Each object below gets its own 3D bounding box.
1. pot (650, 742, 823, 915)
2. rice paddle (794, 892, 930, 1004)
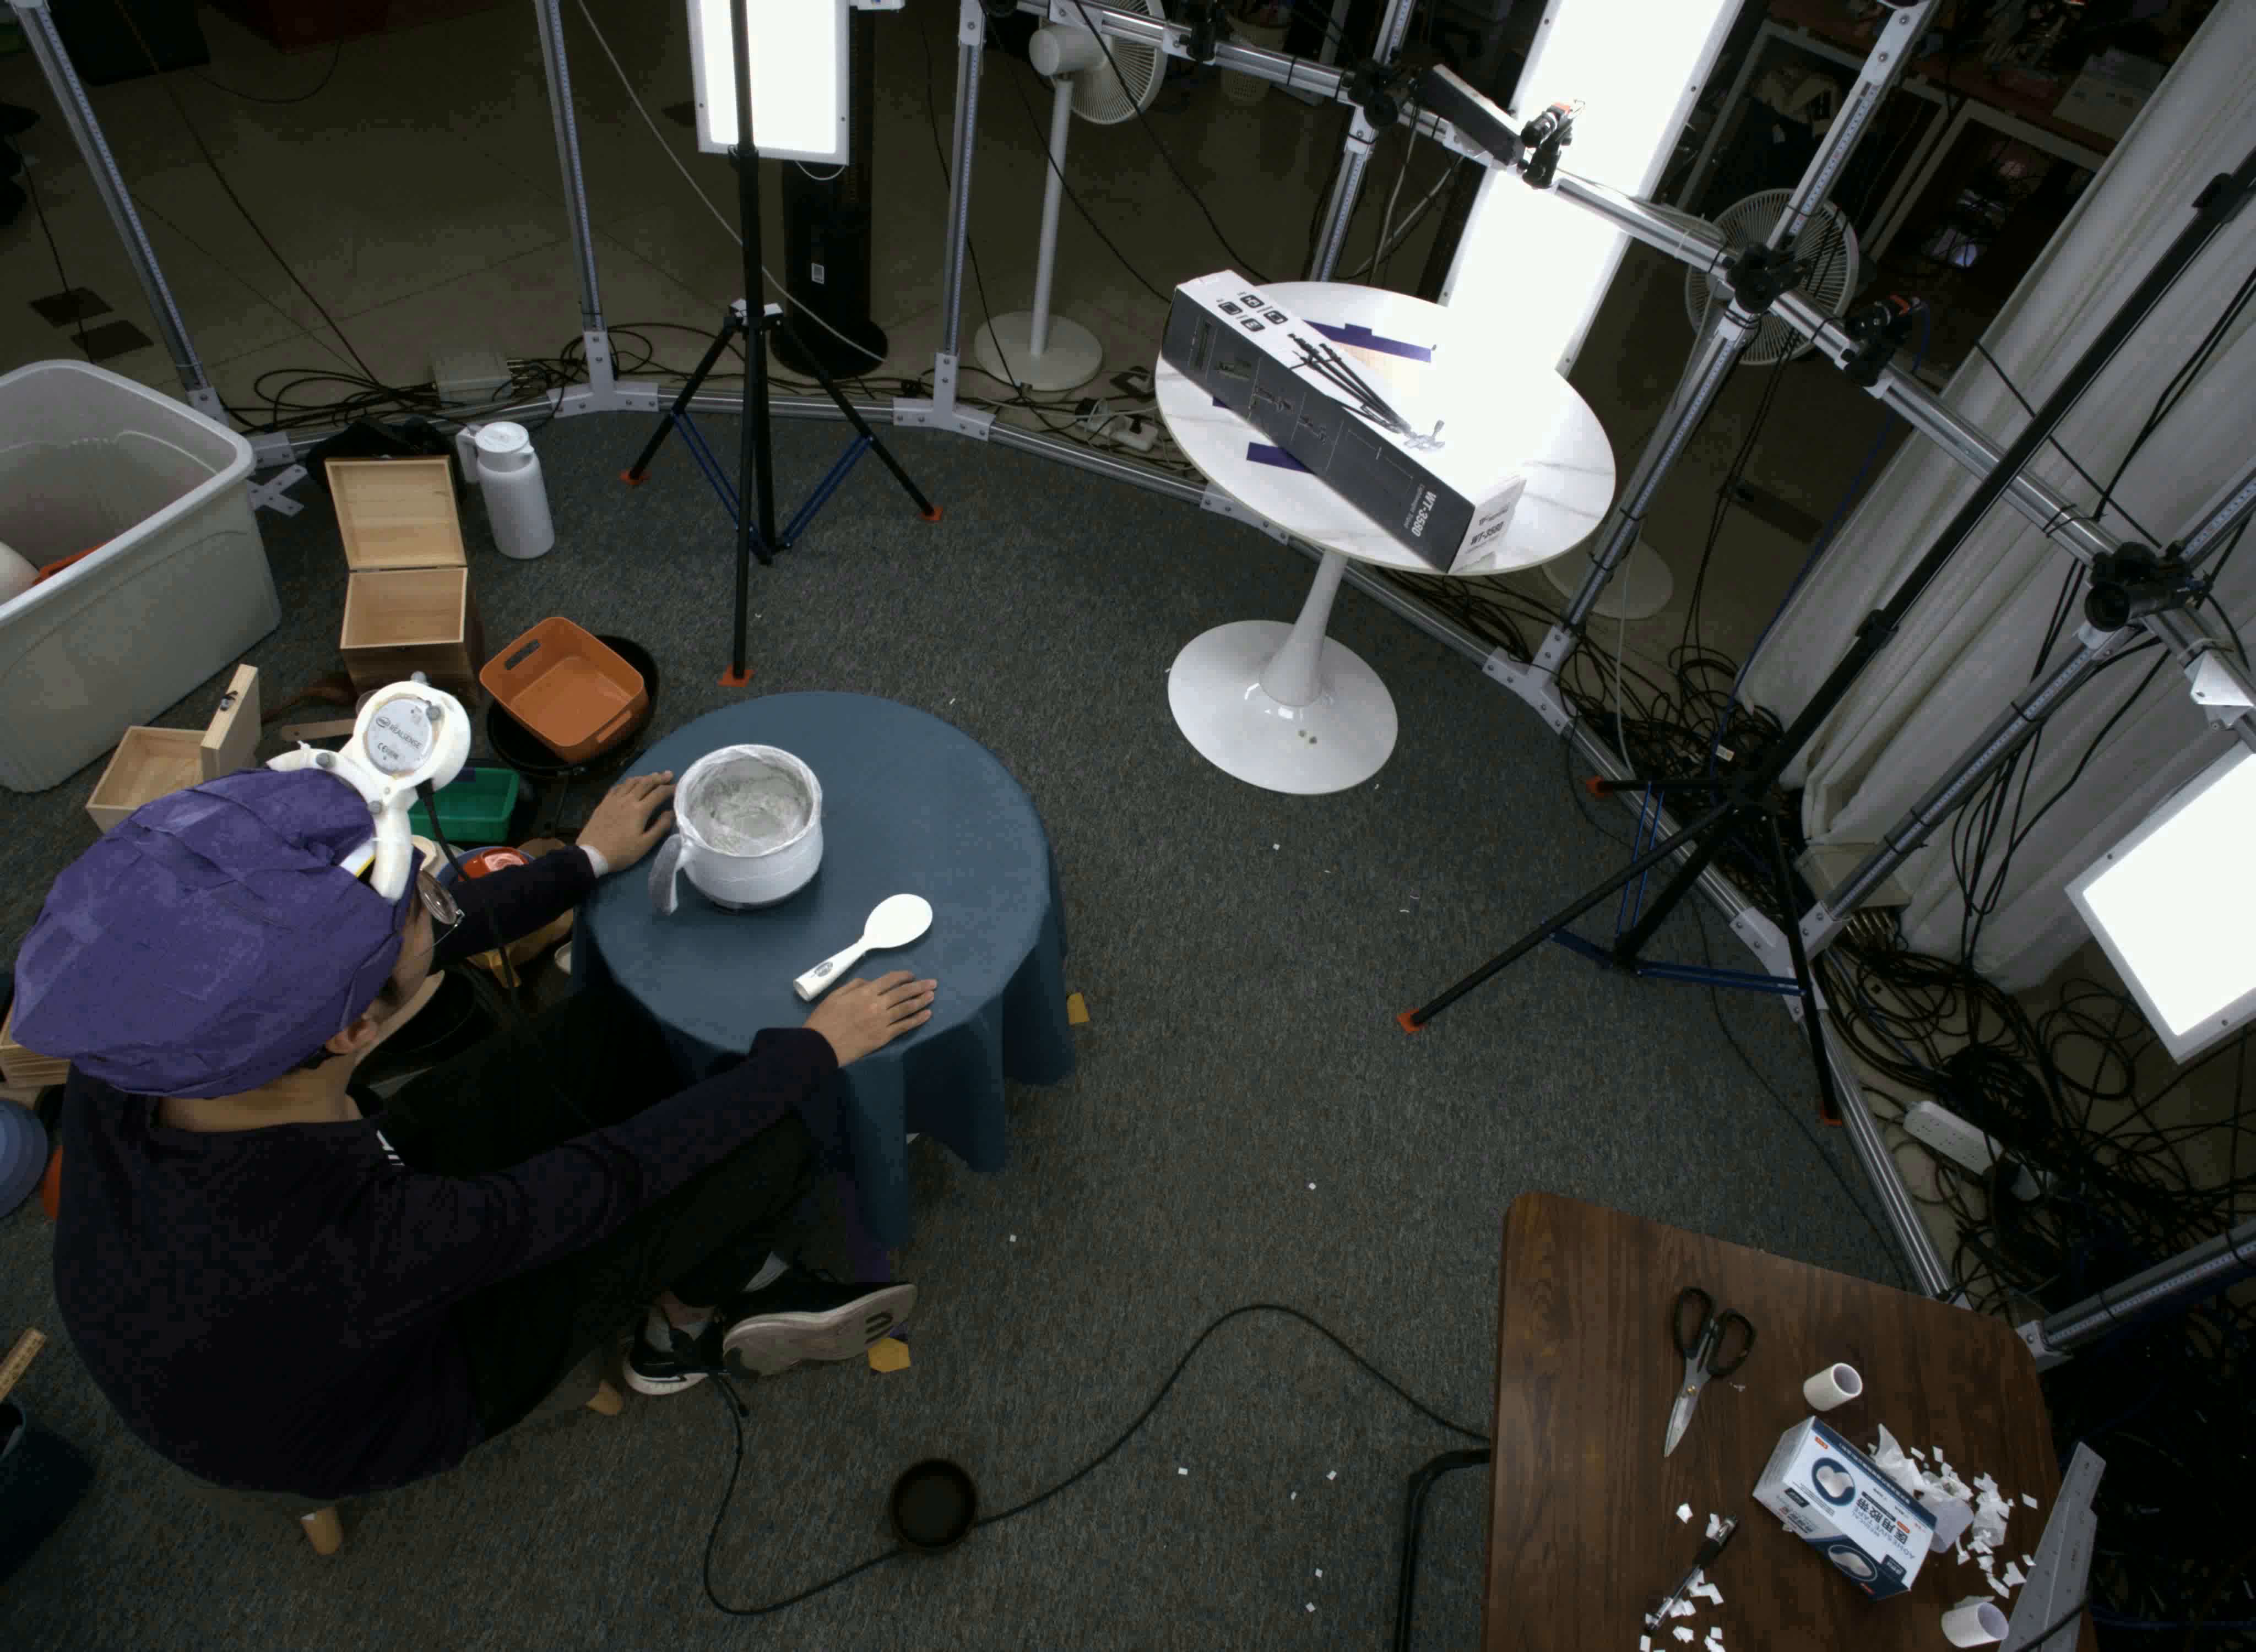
[{"bbox_3d":[-0.494,0.016,1.615,0.174,0.140,0.234,39,53,20],"label":"pot"},{"bbox_3d":[-0.331,0.147,1.632,0.067,0.030,0.205,41,56,14],"label":"rice paddle"}]
